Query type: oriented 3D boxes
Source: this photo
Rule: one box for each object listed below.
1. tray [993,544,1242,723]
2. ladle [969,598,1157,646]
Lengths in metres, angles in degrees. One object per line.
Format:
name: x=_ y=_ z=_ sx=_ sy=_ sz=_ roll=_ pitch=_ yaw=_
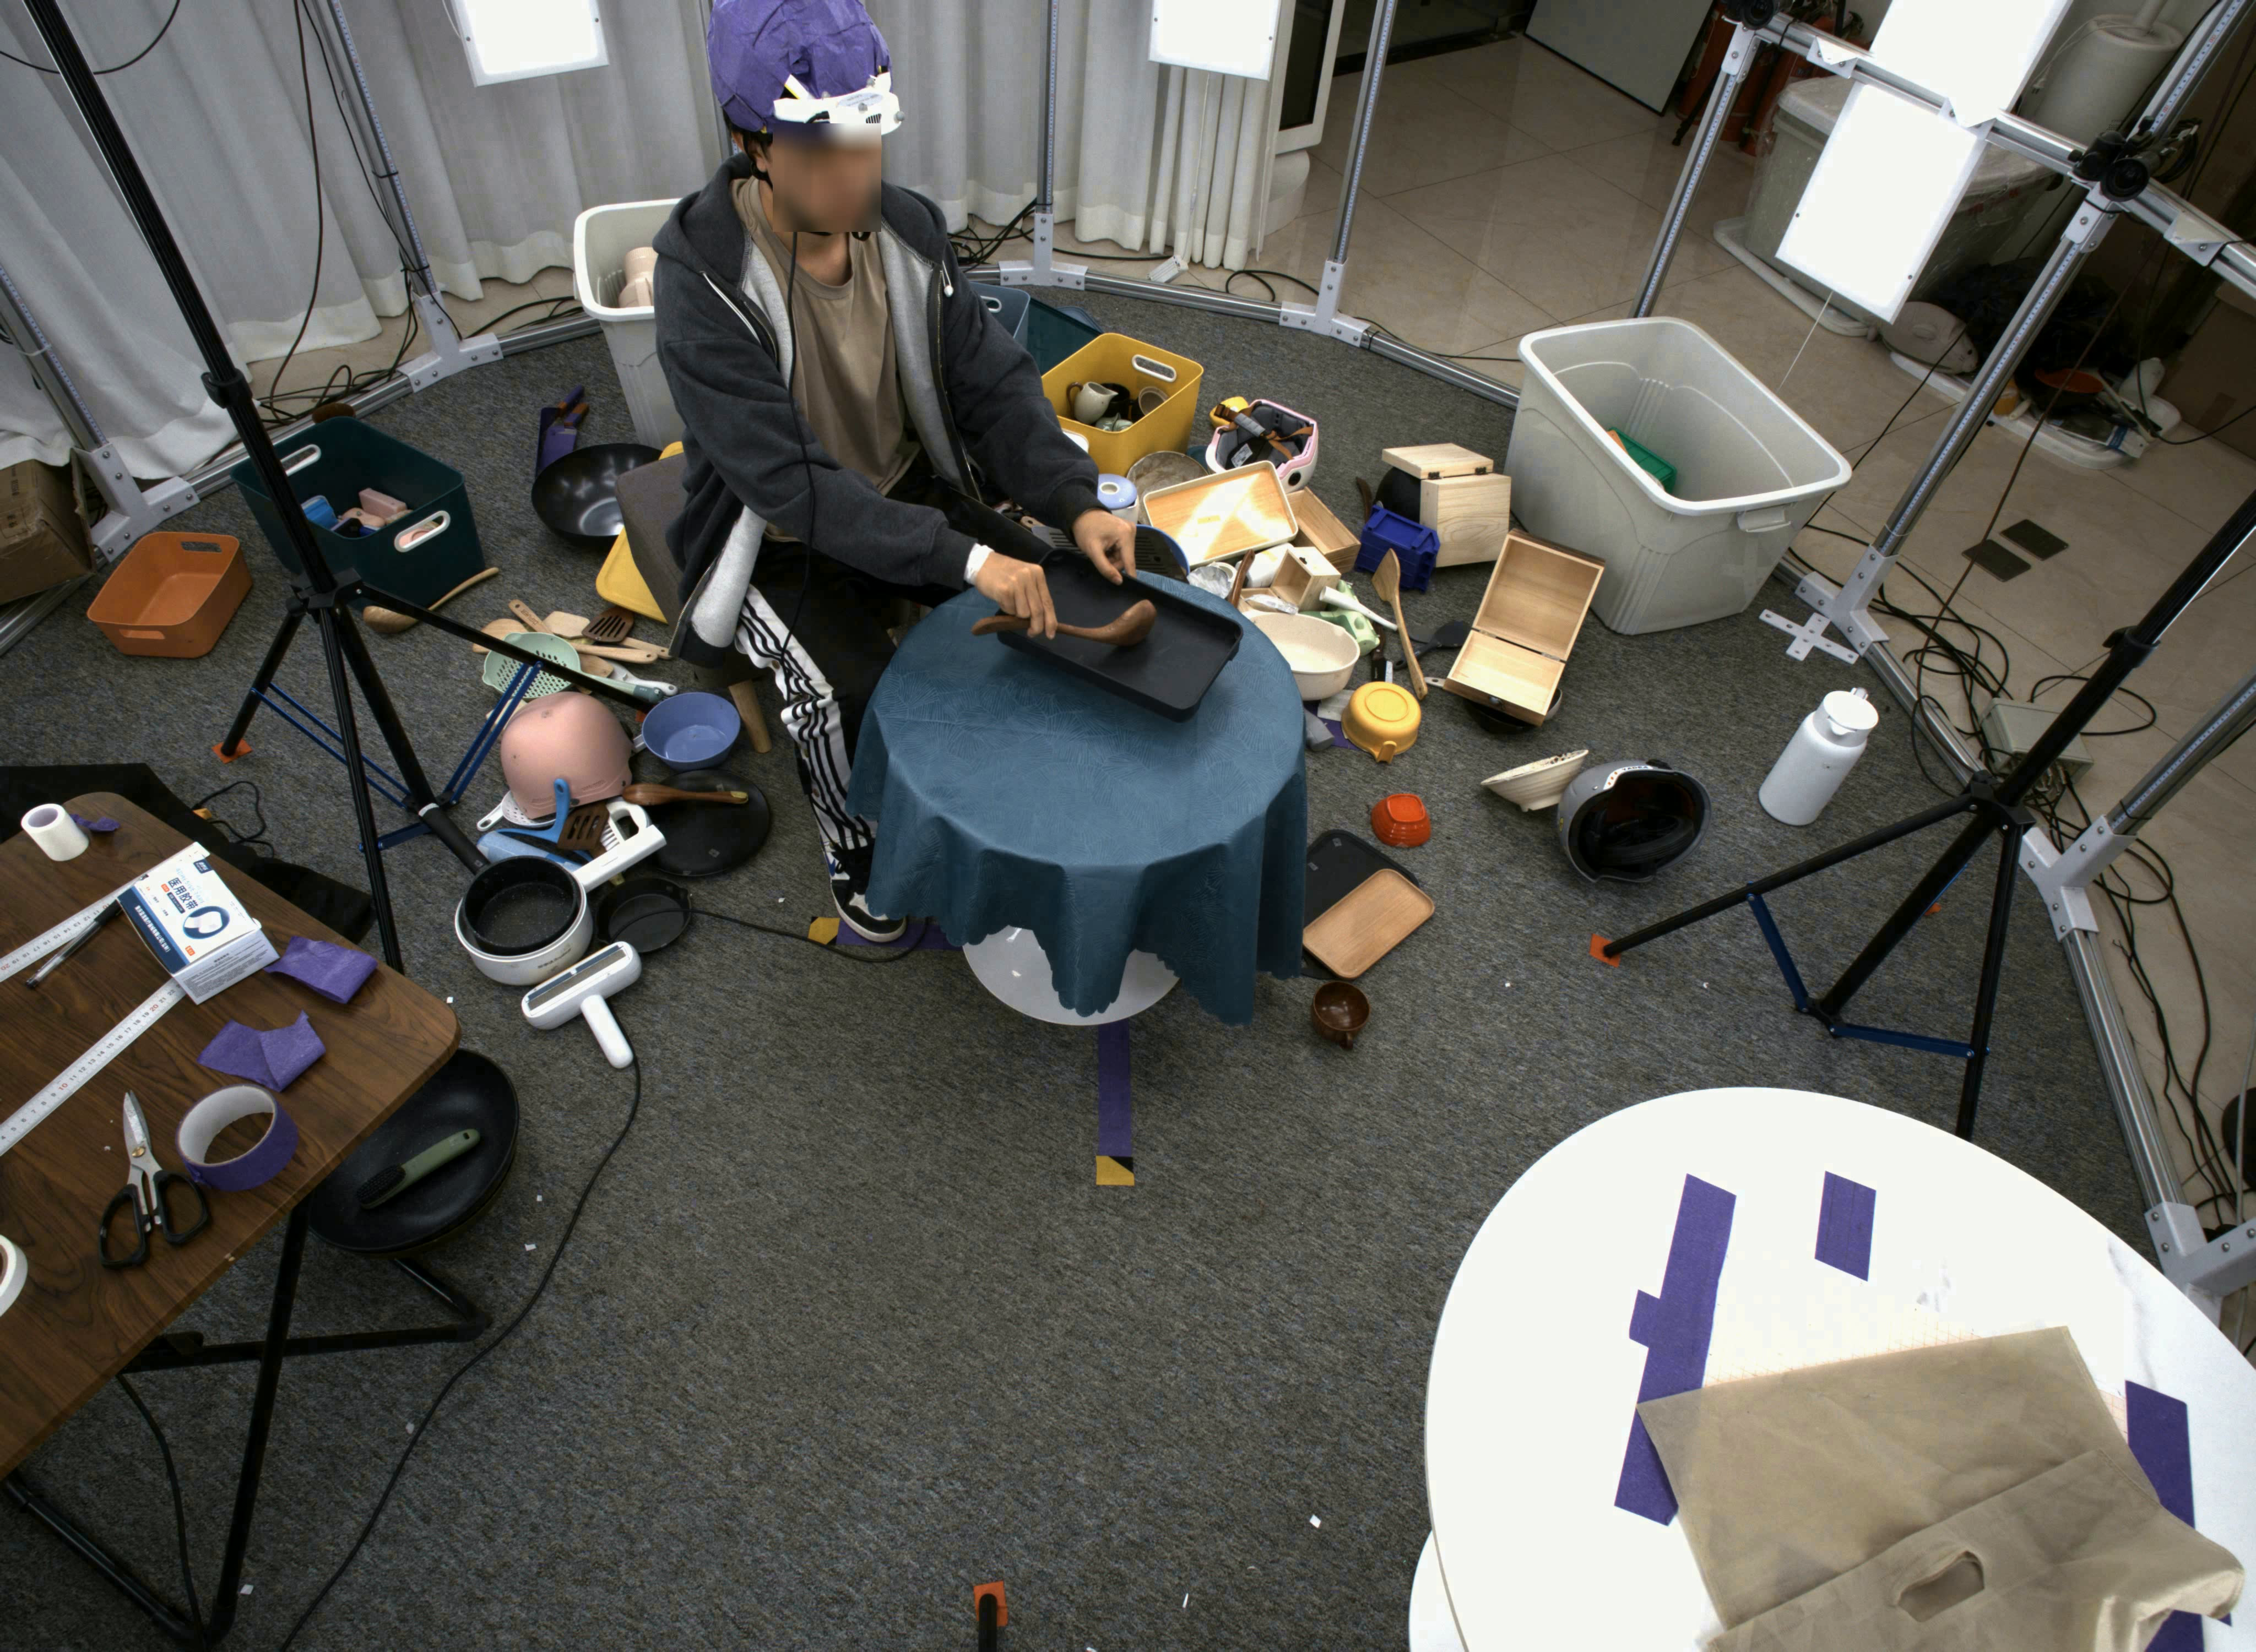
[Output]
tray: x=-0.015 y=-0.274 z=1.808 sx=0.320 sy=0.036 sz=0.187 roll=26 pitch=58 yaw=15
ladle: x=-0.088 y=-0.284 z=1.772 sx=0.259 sy=0.075 sz=0.066 roll=2 pitch=57 yaw=-10
